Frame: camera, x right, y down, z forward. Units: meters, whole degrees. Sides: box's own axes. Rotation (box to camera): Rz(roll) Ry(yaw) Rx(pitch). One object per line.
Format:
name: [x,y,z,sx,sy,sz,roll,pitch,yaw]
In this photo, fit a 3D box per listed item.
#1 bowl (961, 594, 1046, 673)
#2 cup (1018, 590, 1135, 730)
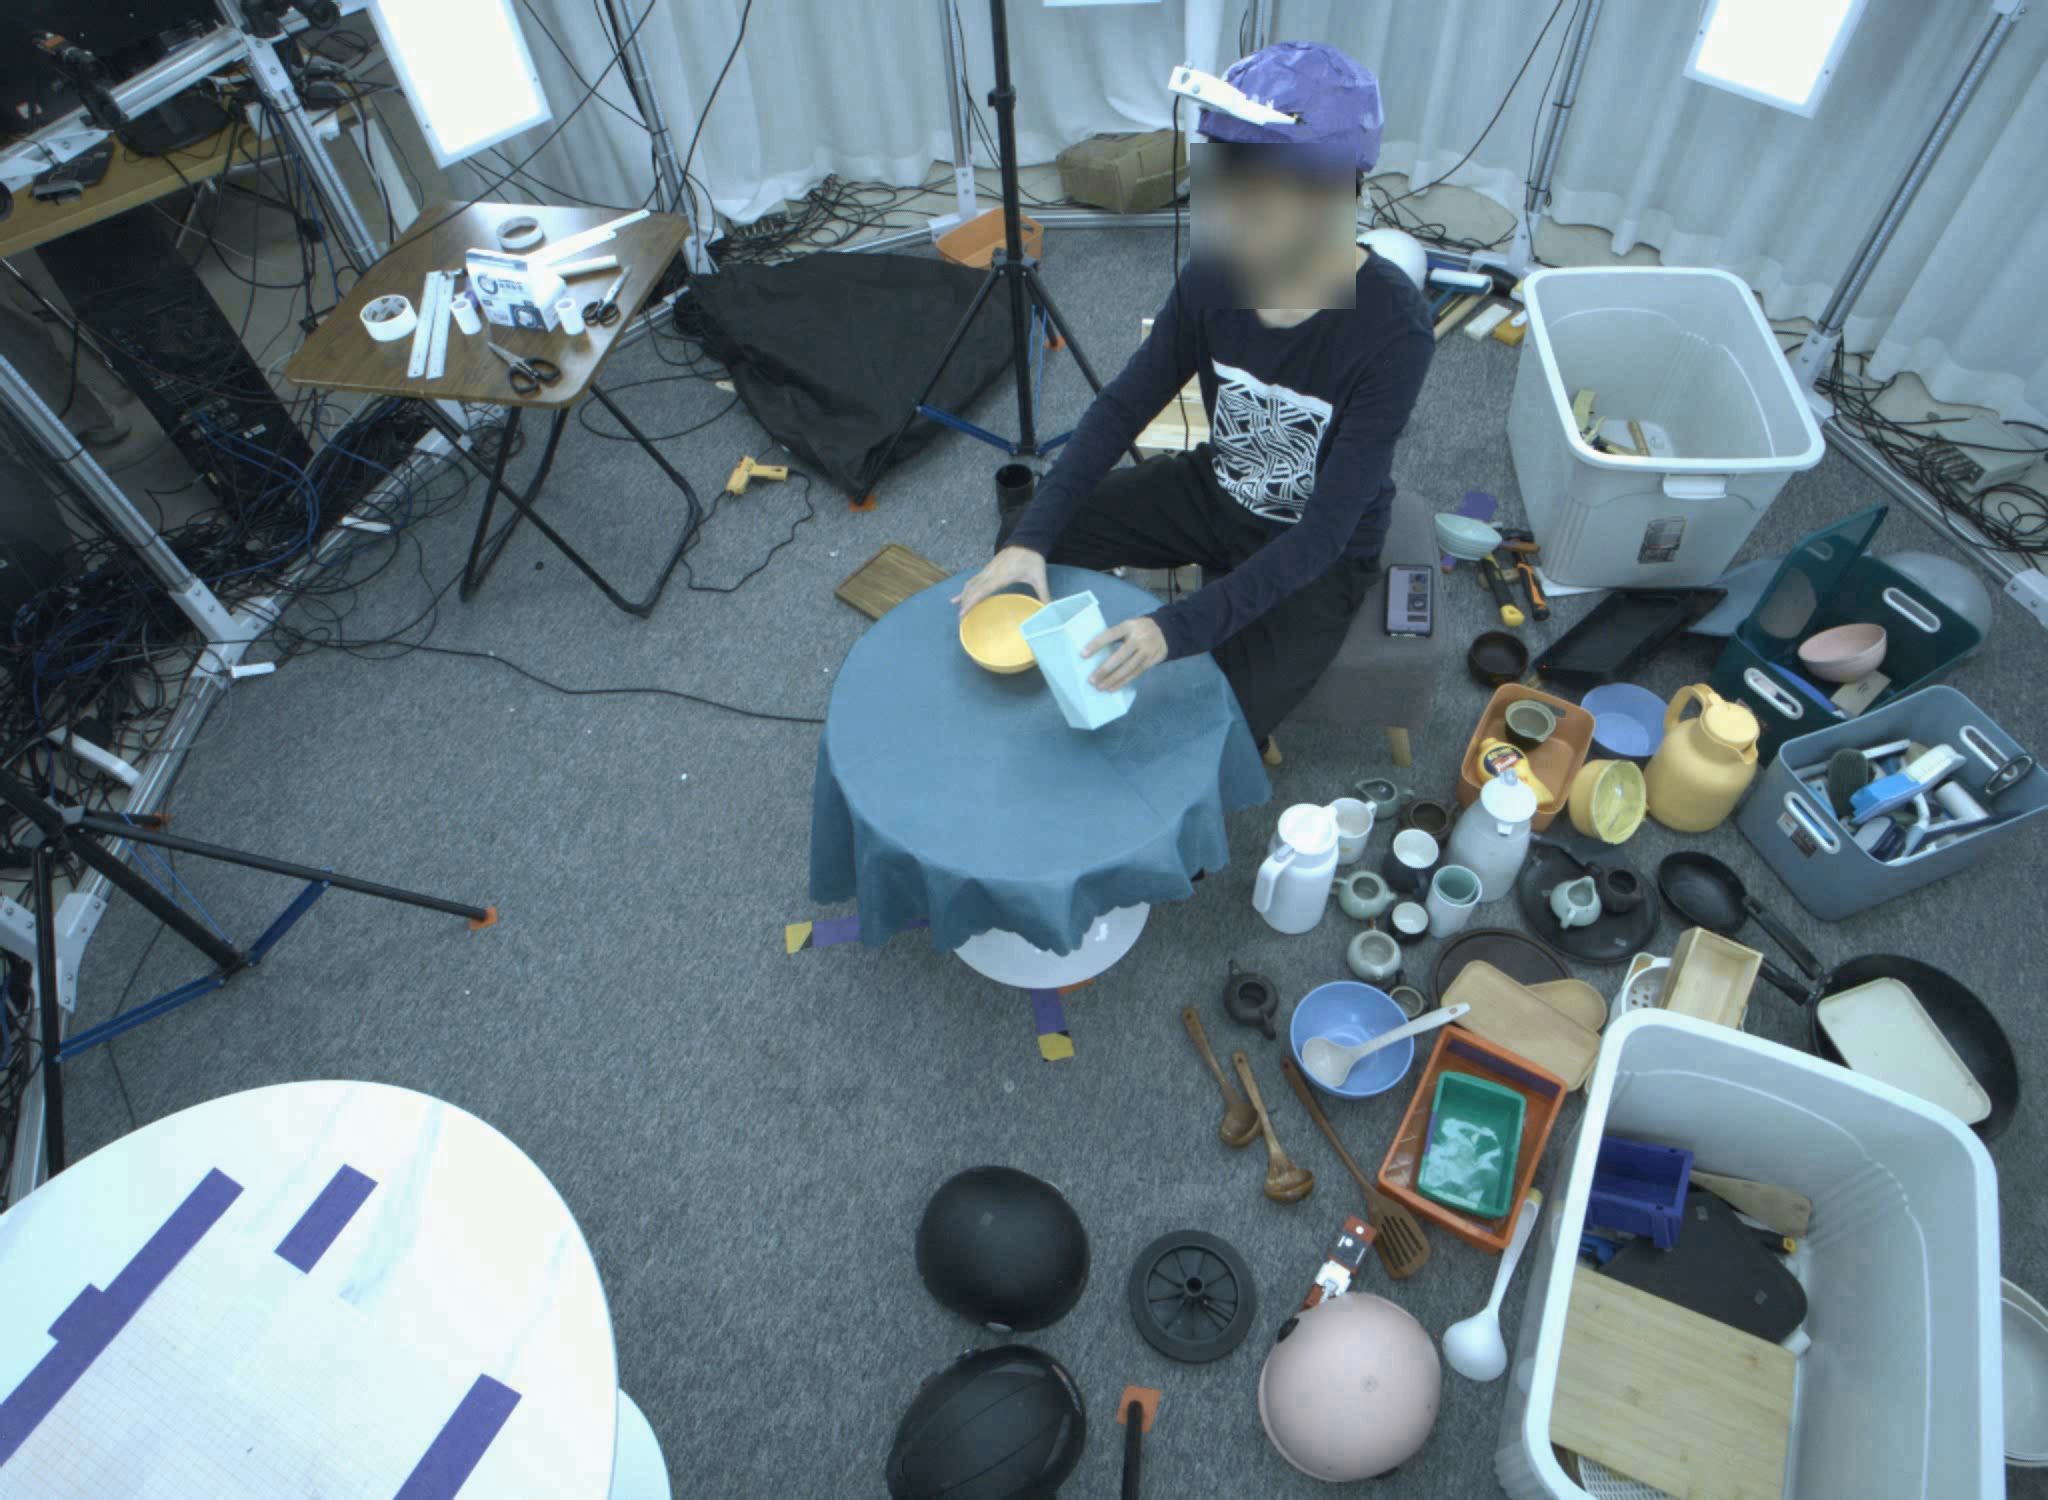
bowl: [-0.023,-0.165,1.866,0.145,0.060,0.144,1,54,0]
cup: [0.079,-0.121,1.724,0.115,0.165,0.129,-26,24,0]
